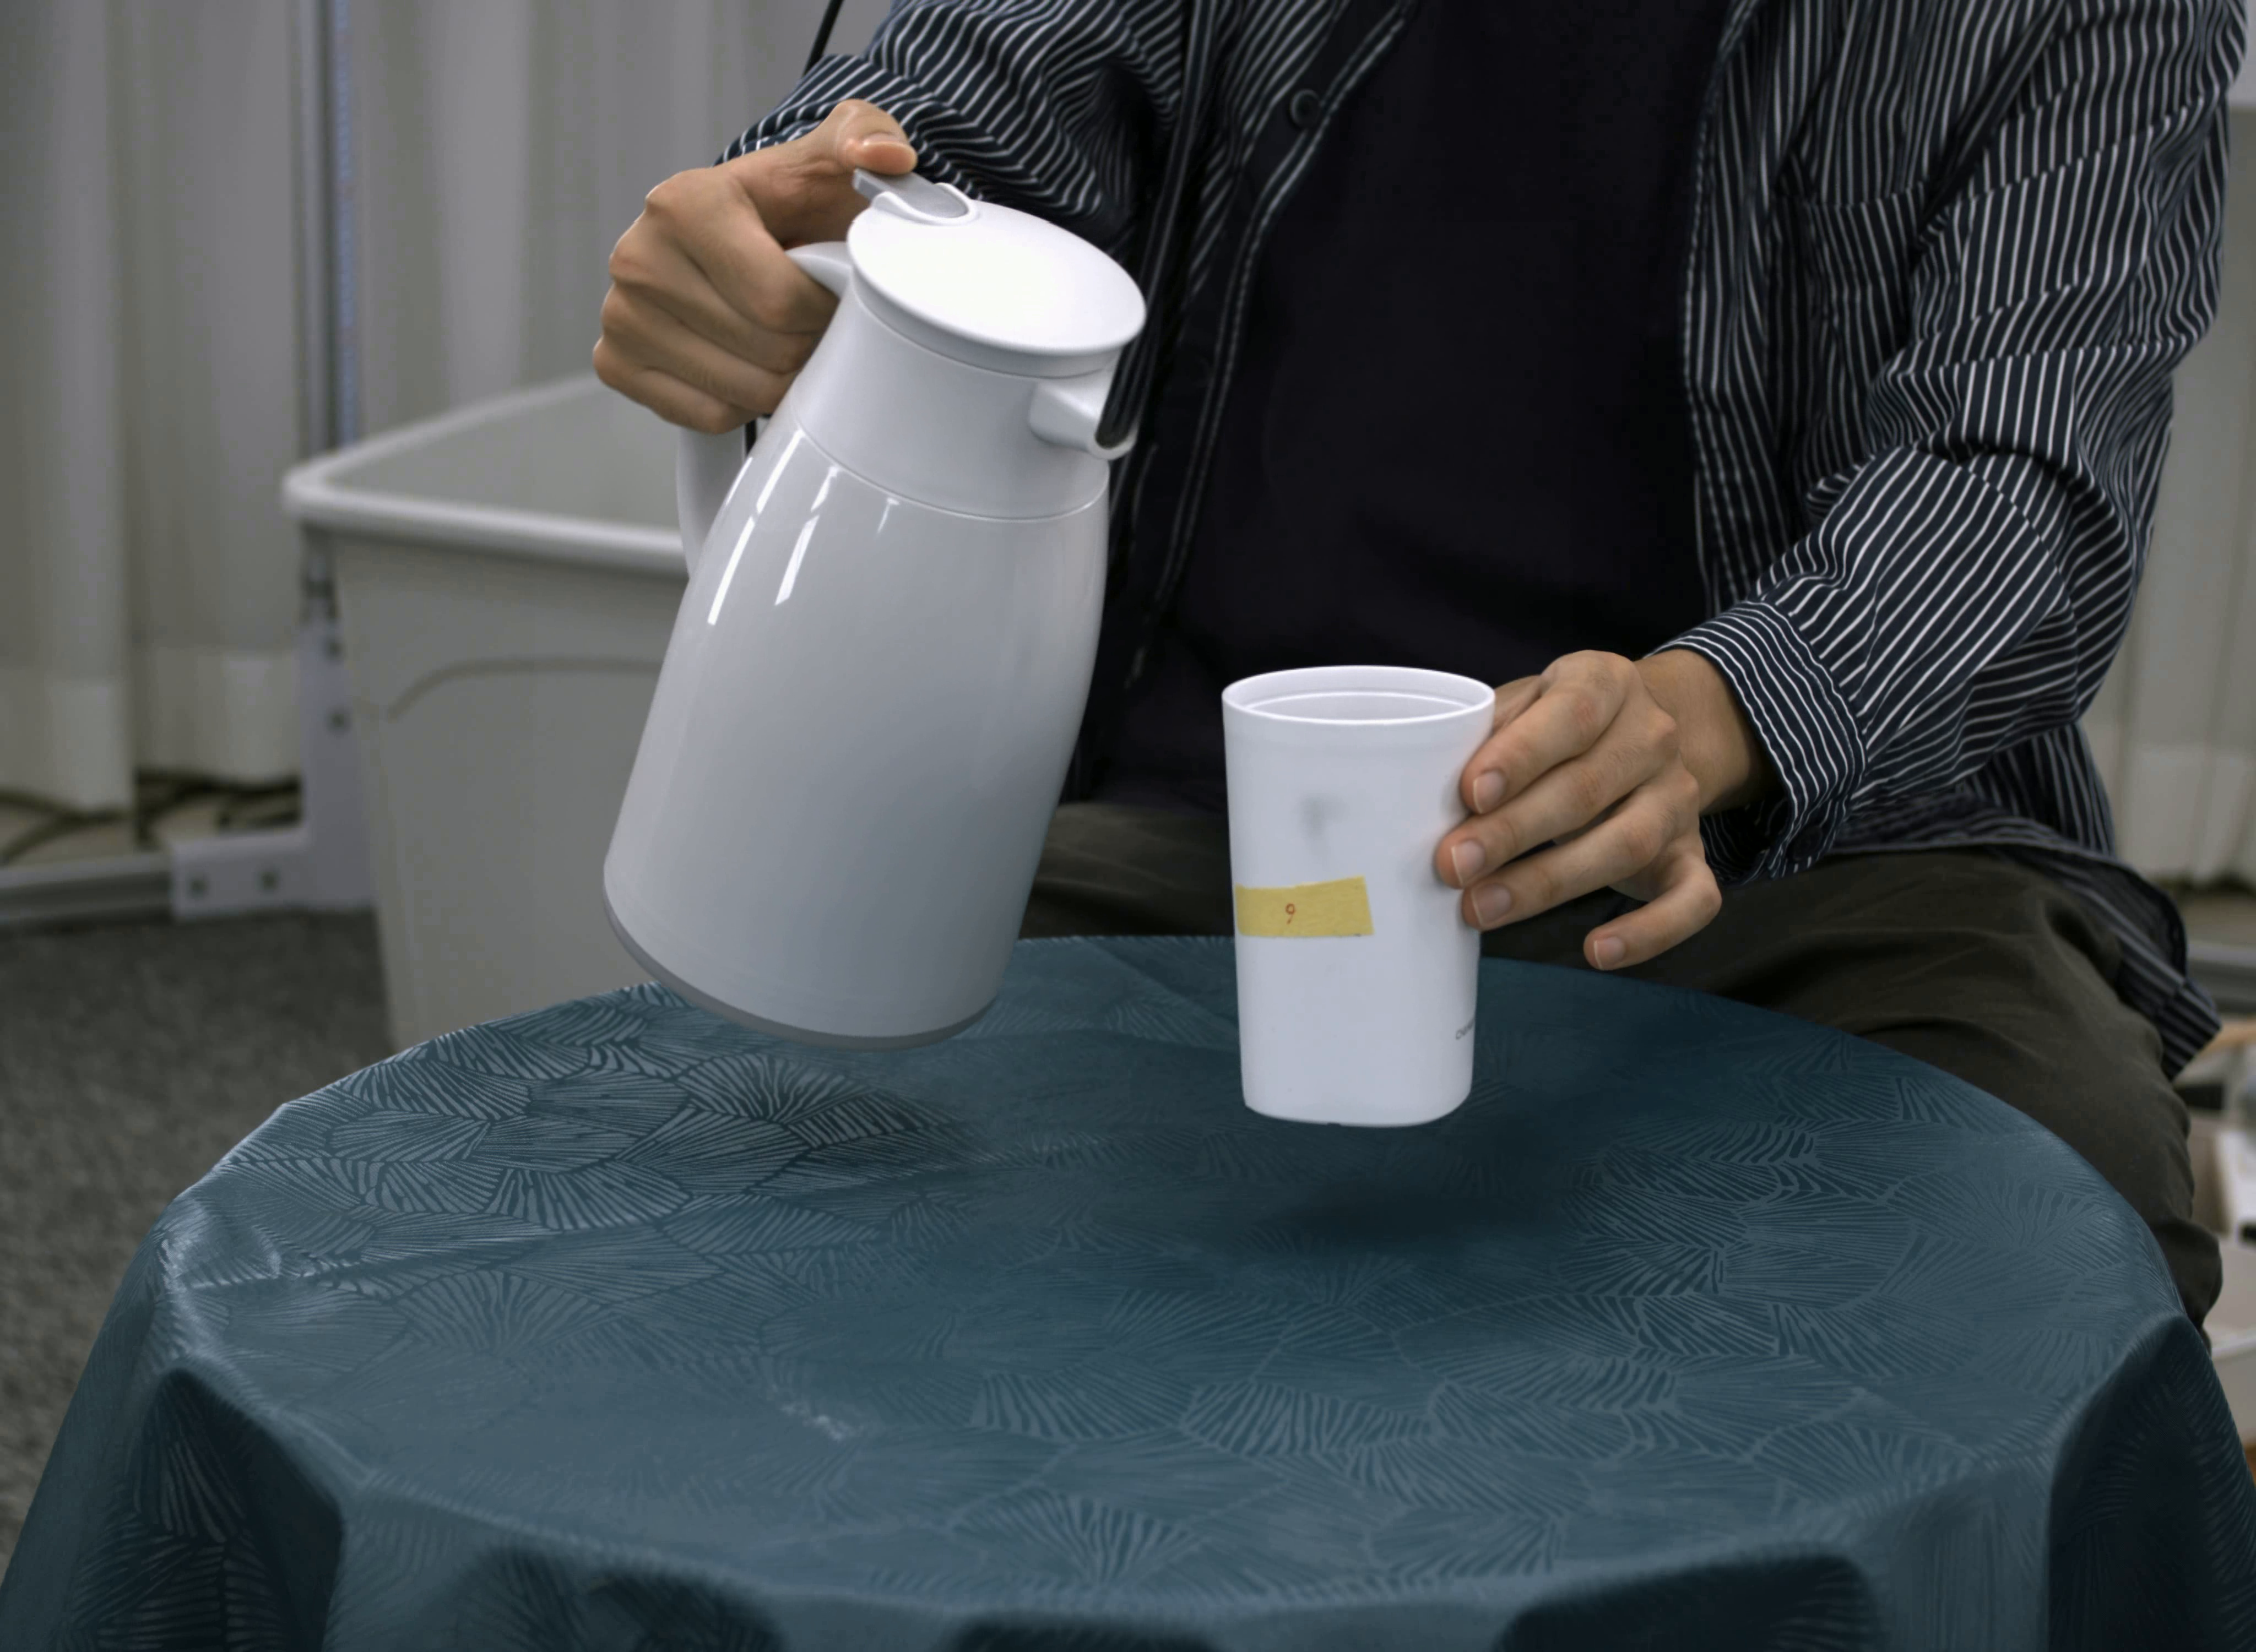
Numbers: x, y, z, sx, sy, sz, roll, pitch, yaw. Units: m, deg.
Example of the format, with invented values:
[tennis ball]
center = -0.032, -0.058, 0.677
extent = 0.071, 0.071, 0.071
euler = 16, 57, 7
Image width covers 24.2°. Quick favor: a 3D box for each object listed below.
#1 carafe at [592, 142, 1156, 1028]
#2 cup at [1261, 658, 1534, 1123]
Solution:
[carafe]
center = -0.085, -0.084, 1.617
extent = 0.166, 0.250, 0.133
euler = 38, 37, 25
[cup]
center = 0.080, 0.019, 1.567
extent = 0.081, 0.126, 0.081
euler = 0, 14, 1
